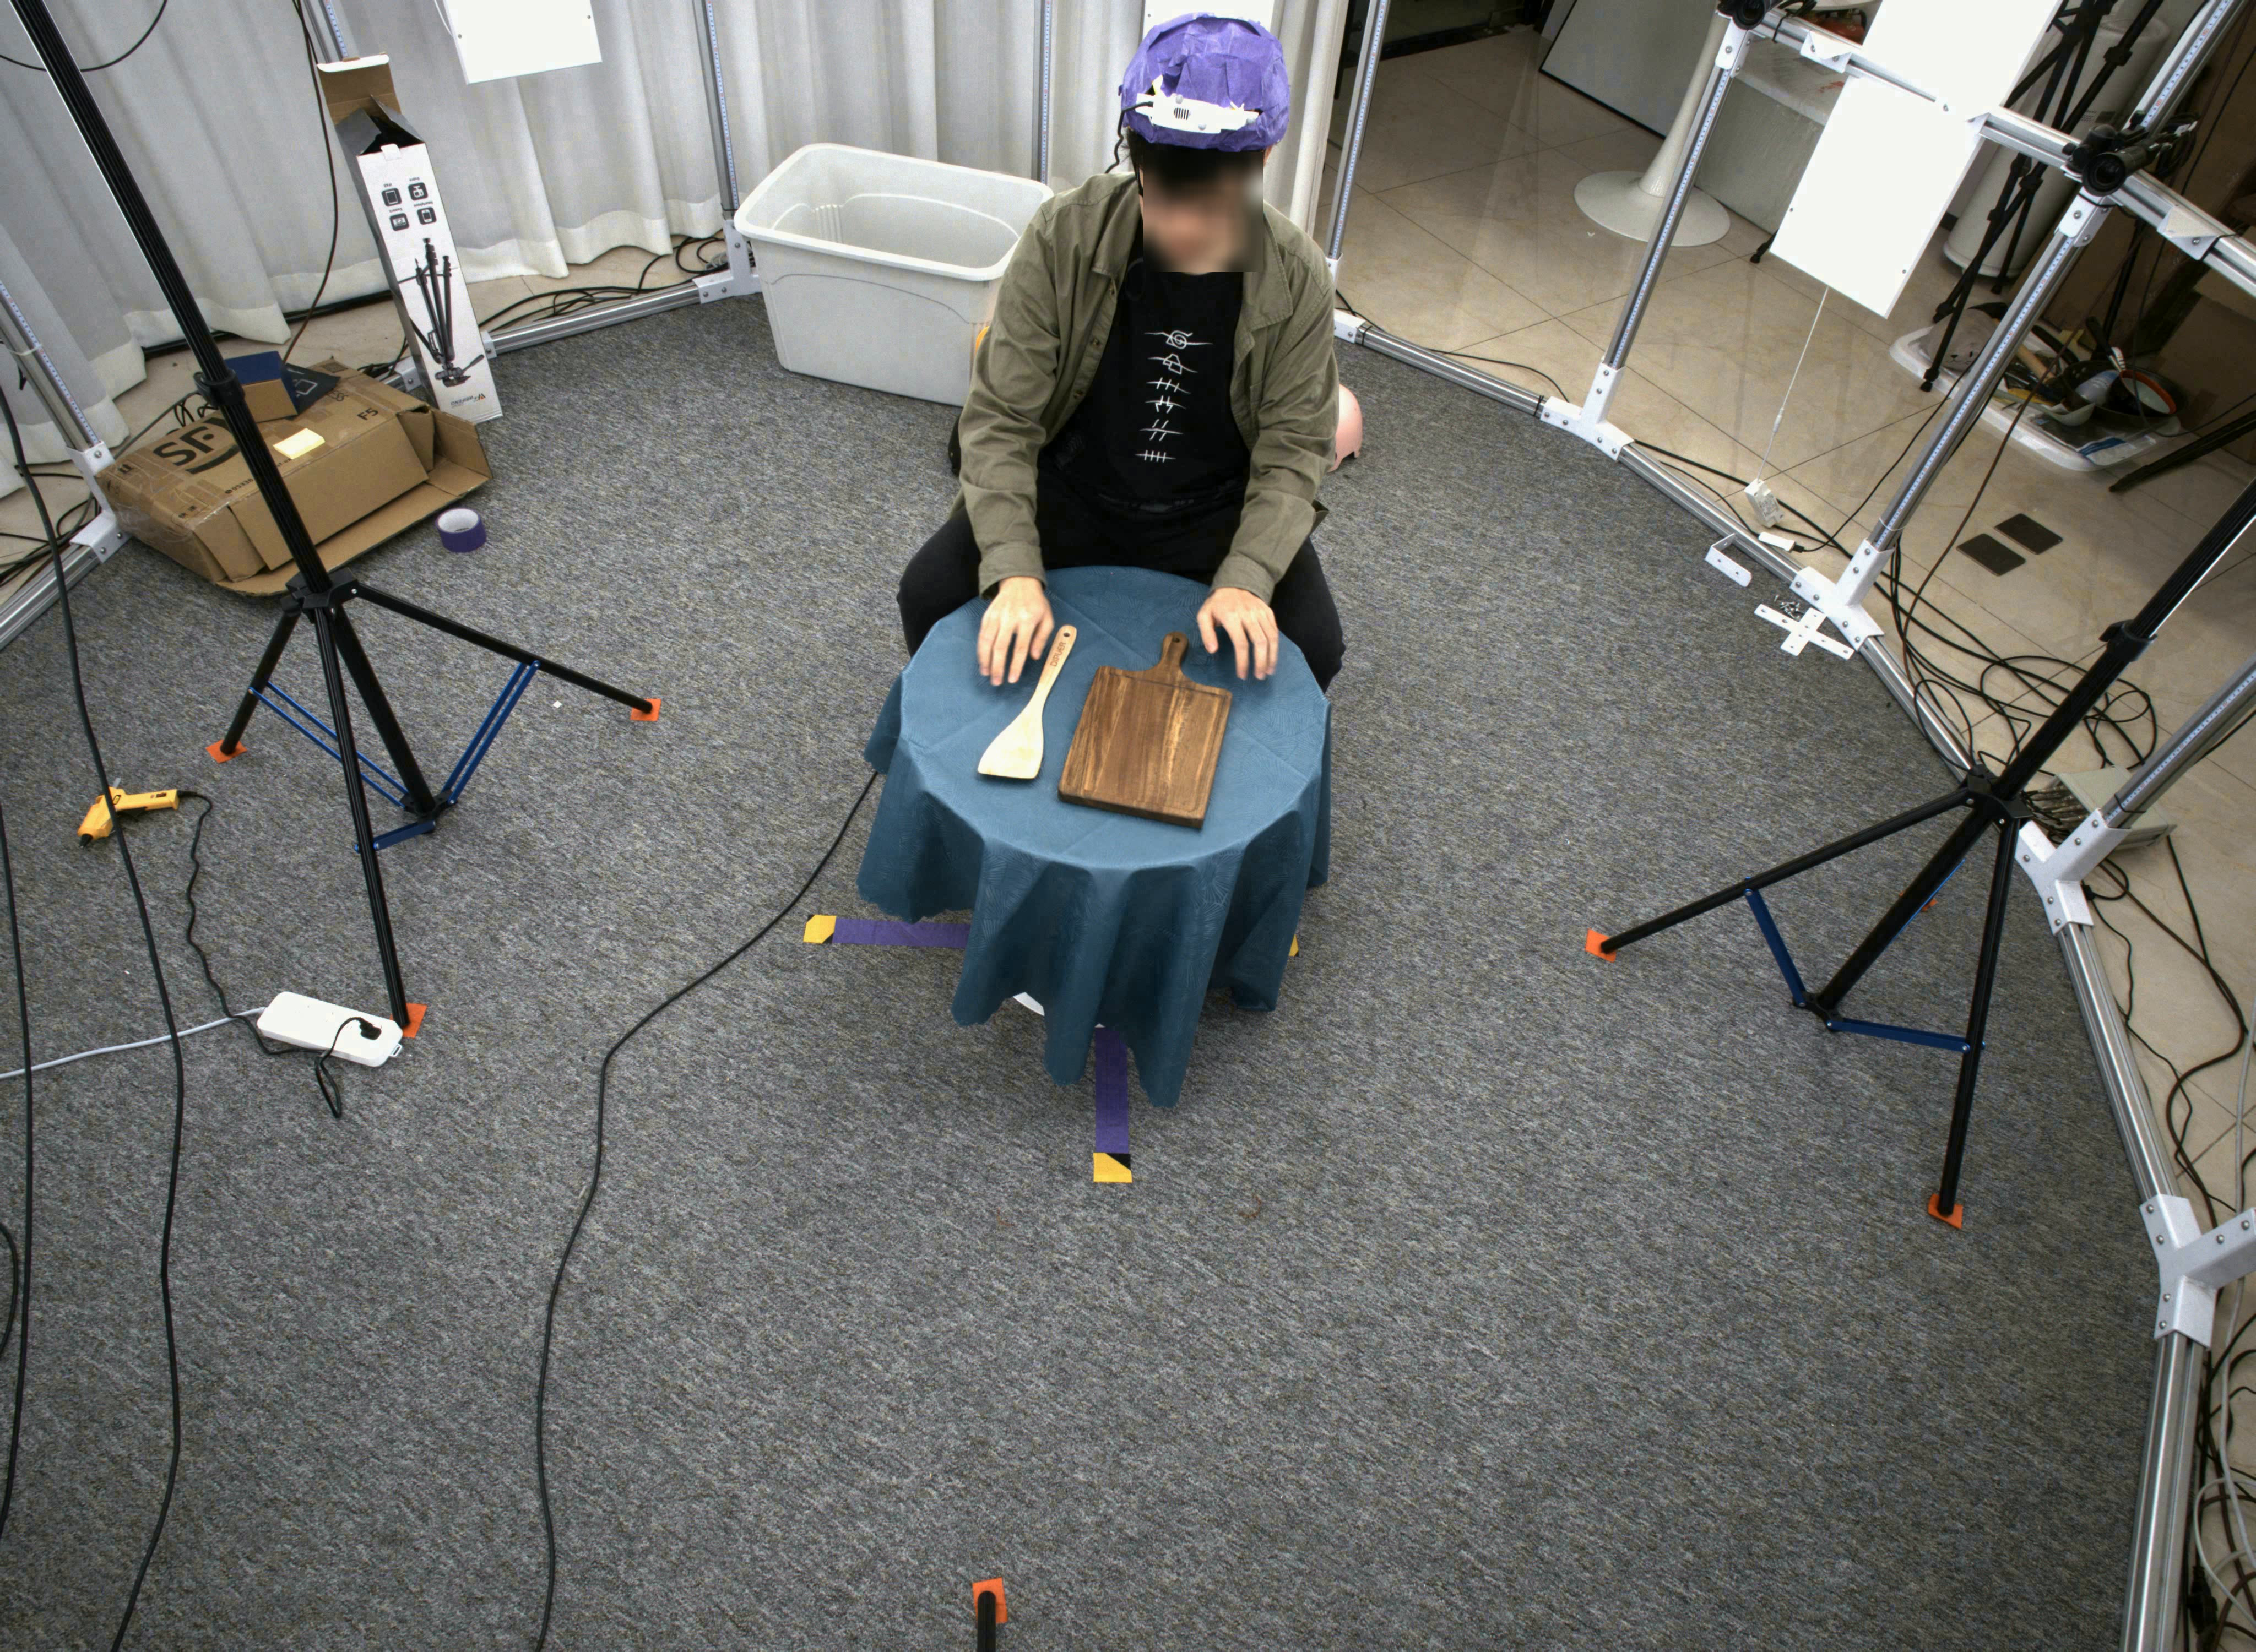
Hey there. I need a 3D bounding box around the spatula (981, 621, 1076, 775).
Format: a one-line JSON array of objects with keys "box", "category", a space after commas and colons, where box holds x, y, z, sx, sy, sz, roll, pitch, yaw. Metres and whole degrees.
[{"box": [-0.122, -0.184, 1.798, 0.080, 0.016, 0.335, 12, 49, 5], "category": "spatula"}]

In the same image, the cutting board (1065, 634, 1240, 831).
[{"box": [0.048, -0.146, 1.776, 0.201, 0.022, 0.360, 12, 49, 5], "category": "cutting board"}]
